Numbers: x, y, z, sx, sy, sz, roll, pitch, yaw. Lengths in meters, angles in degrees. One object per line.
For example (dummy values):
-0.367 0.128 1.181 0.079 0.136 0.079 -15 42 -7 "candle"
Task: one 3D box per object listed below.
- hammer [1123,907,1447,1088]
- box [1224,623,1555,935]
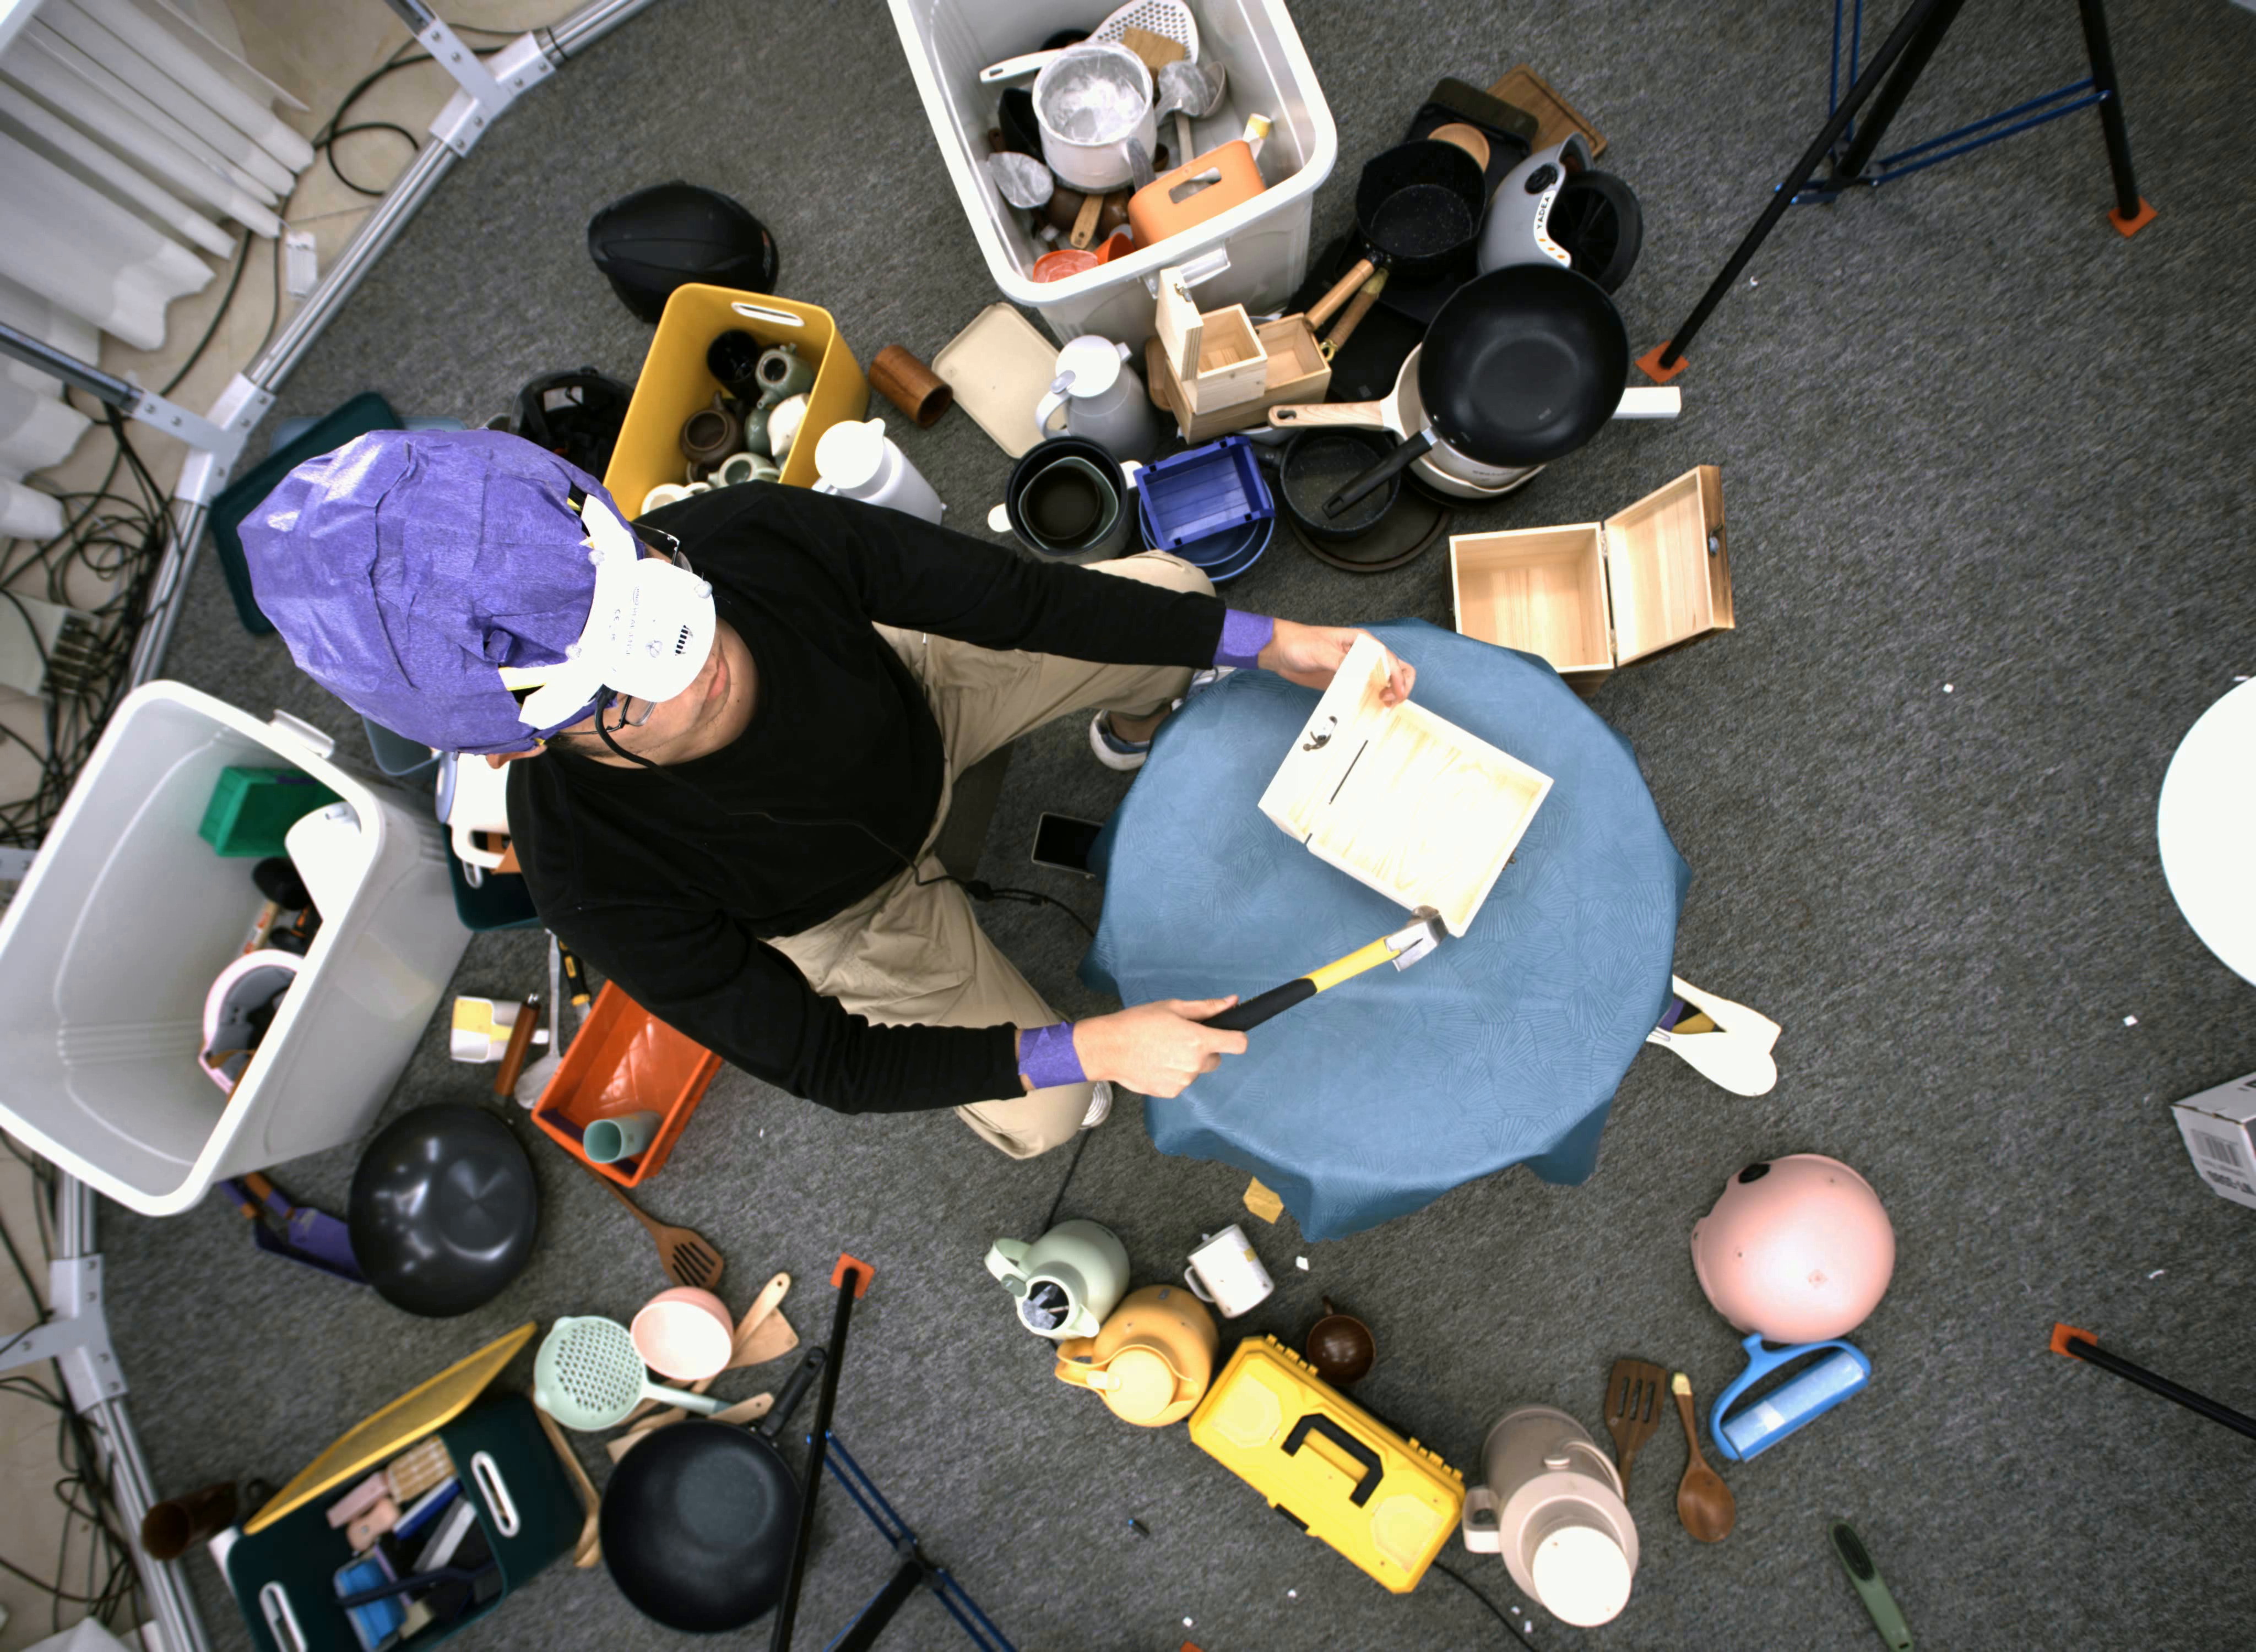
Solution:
0.147 0.166 1.327 0.341 0.130 0.032 -28 89 12 "hammer"
0.265 -0.035 1.341 0.264 0.253 0.182 30 93 11 "box"
